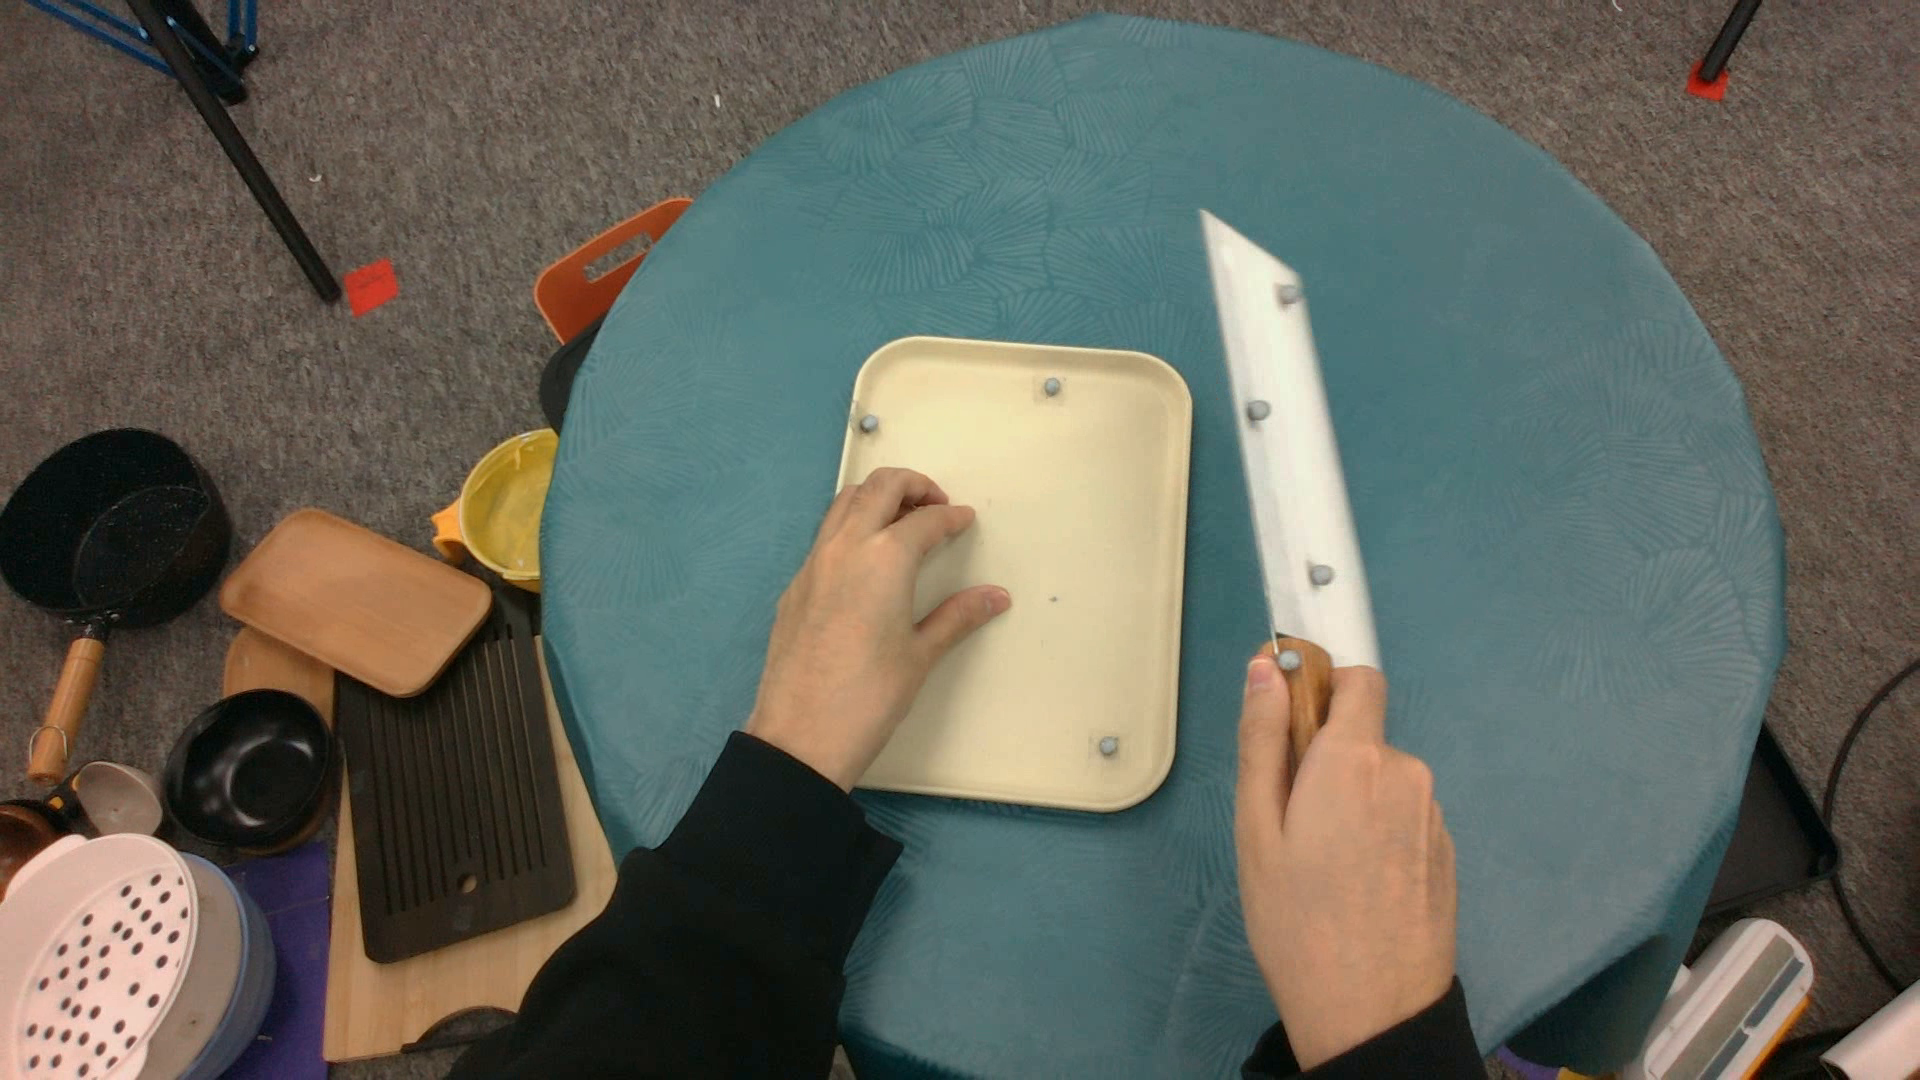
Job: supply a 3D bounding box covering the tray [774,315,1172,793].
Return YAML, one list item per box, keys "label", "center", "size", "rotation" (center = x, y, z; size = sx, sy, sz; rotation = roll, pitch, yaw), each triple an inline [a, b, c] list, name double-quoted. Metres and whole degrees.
- label: "tray"
  center: [0.011, 0.000, 0.653]
  size: [0.171, 0.017, 0.240]
  rotation: [6, 64, 3]

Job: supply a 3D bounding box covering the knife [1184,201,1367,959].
- label: "knife"
  center: [0.134, 0.008, 0.559]
  size: [0.021, 0.093, 0.306]
  rotation: [-18, 70, 35]
